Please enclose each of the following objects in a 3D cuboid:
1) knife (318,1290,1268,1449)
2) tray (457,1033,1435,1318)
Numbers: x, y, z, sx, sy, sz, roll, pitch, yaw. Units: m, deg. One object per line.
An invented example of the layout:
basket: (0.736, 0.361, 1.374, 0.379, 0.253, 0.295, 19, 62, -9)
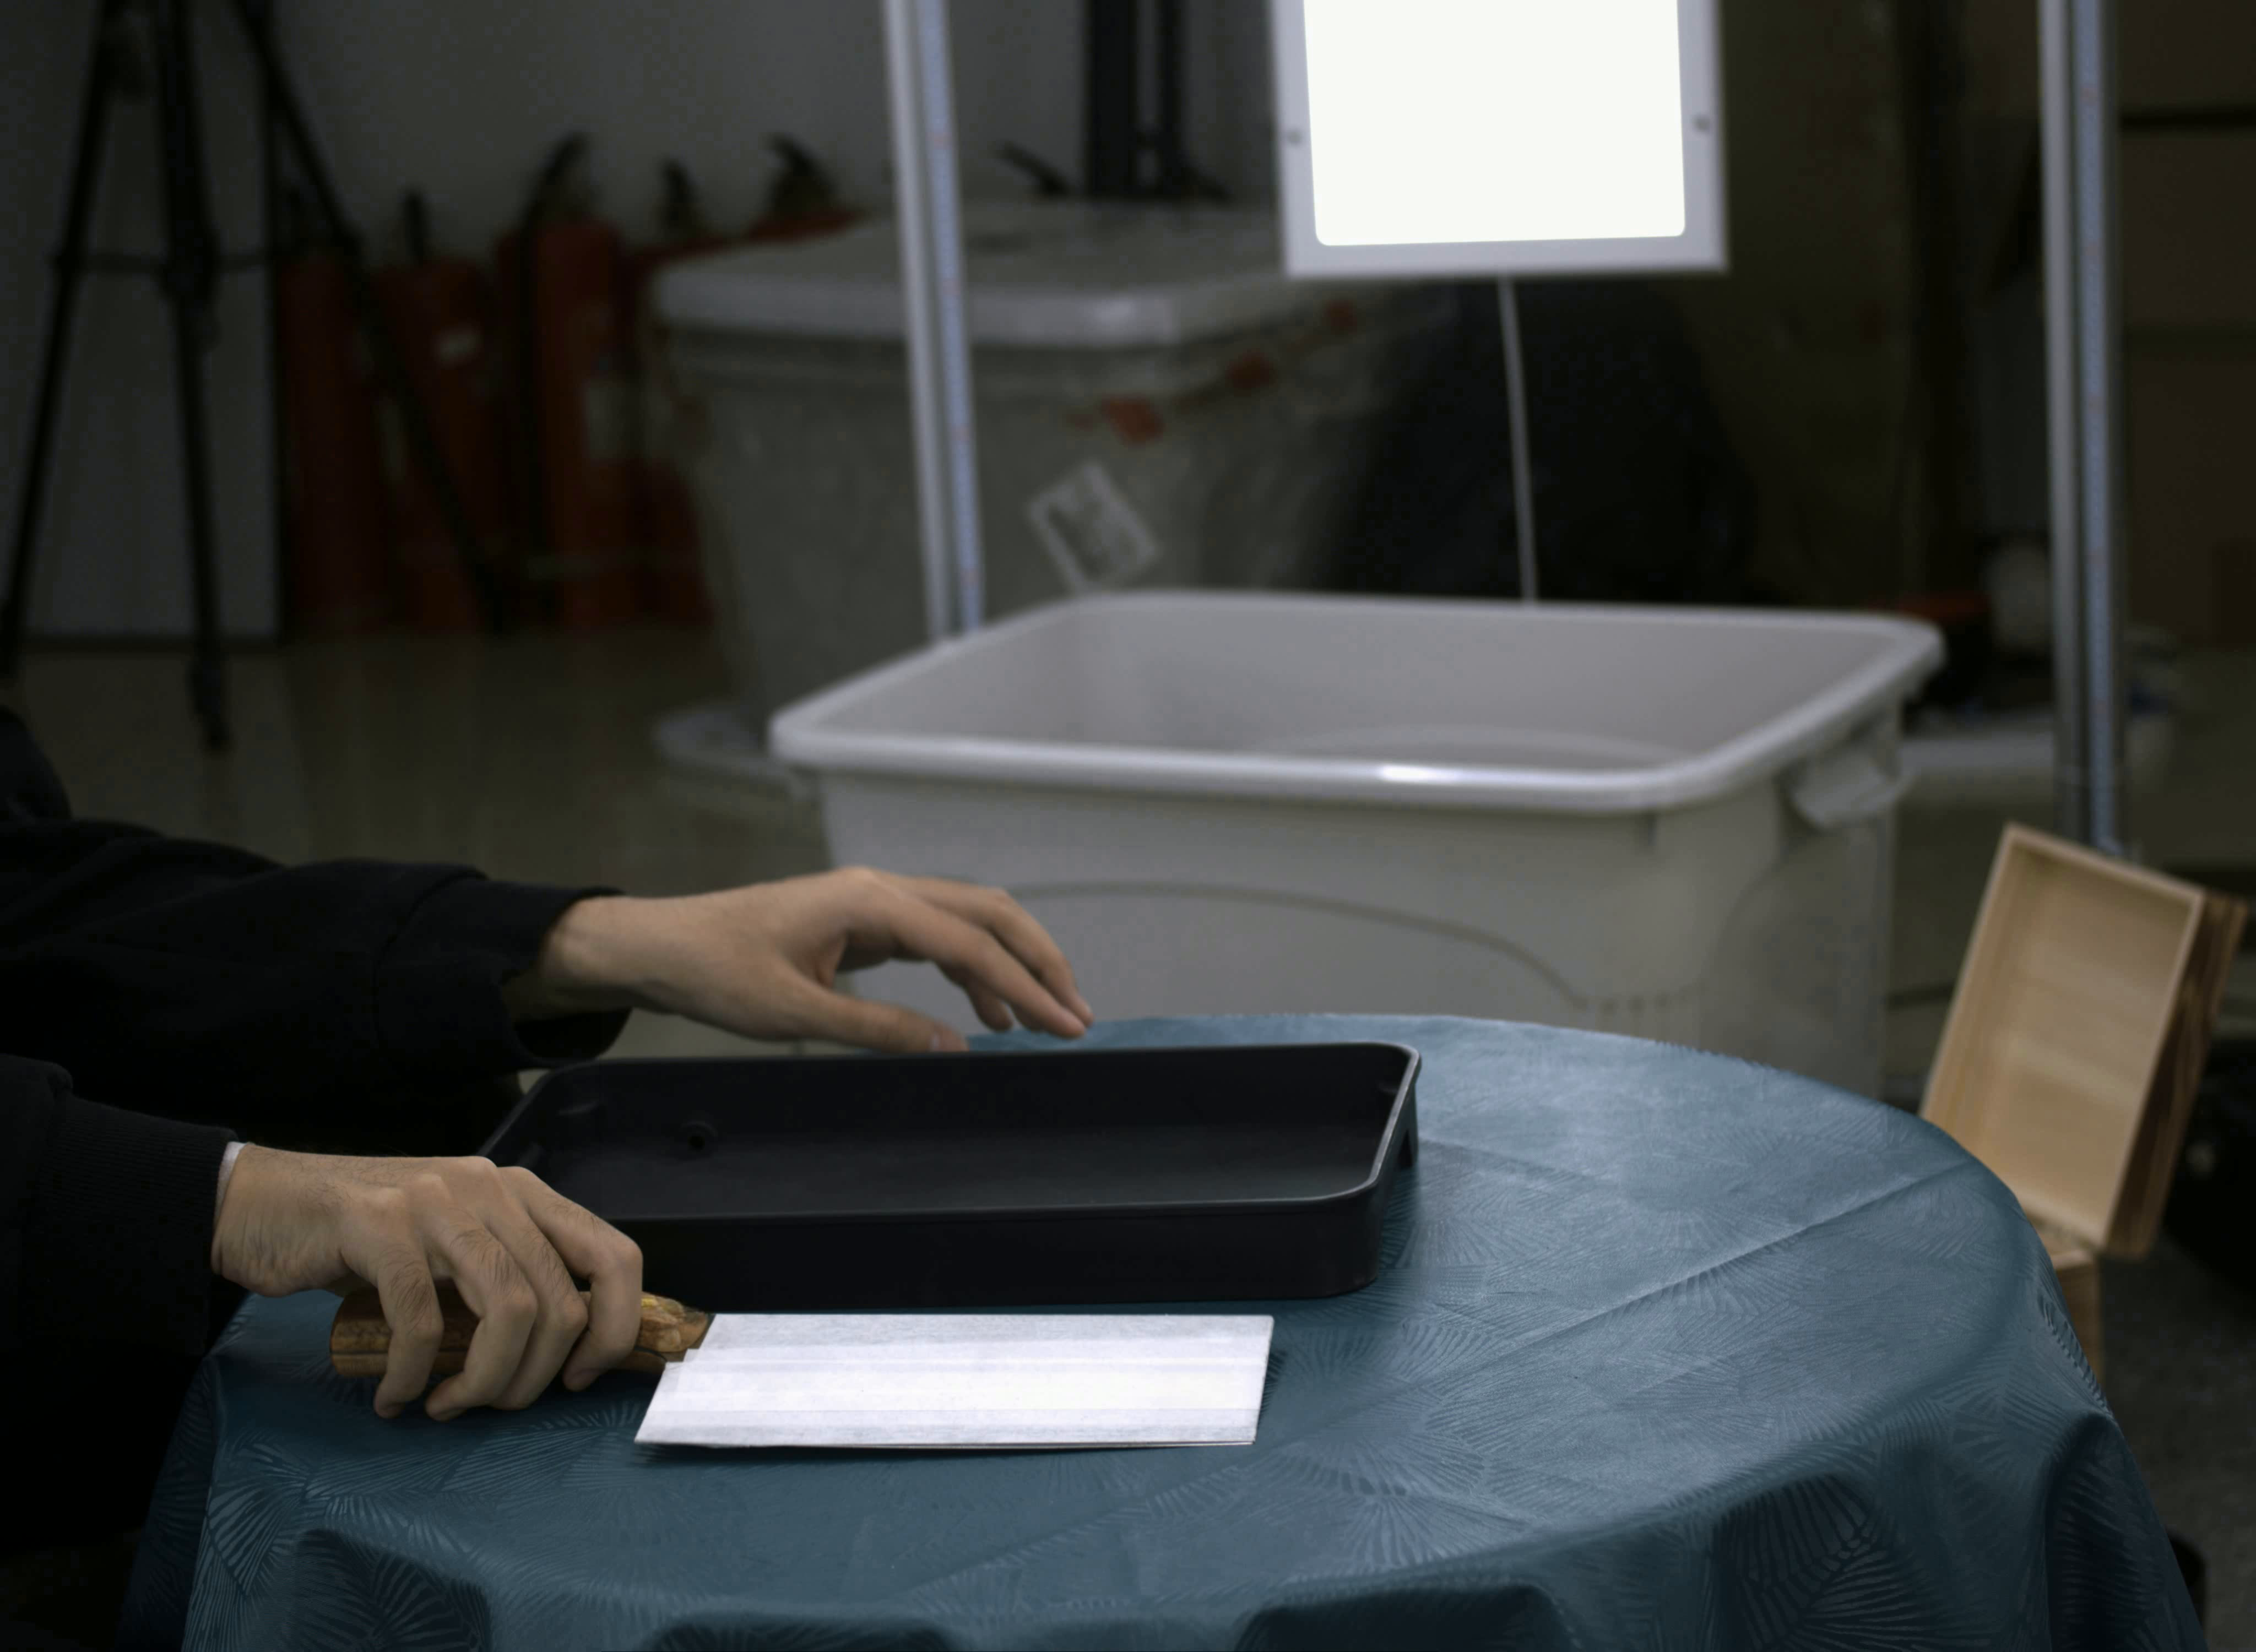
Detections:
knife: (-0.108, 0.170, 1.712, 0.307, 0.021, 0.092, 0, 20, 8)
tray: (-0.057, 0.118, 1.877, 0.320, 0.037, 0.182, -3, 14, 10)
